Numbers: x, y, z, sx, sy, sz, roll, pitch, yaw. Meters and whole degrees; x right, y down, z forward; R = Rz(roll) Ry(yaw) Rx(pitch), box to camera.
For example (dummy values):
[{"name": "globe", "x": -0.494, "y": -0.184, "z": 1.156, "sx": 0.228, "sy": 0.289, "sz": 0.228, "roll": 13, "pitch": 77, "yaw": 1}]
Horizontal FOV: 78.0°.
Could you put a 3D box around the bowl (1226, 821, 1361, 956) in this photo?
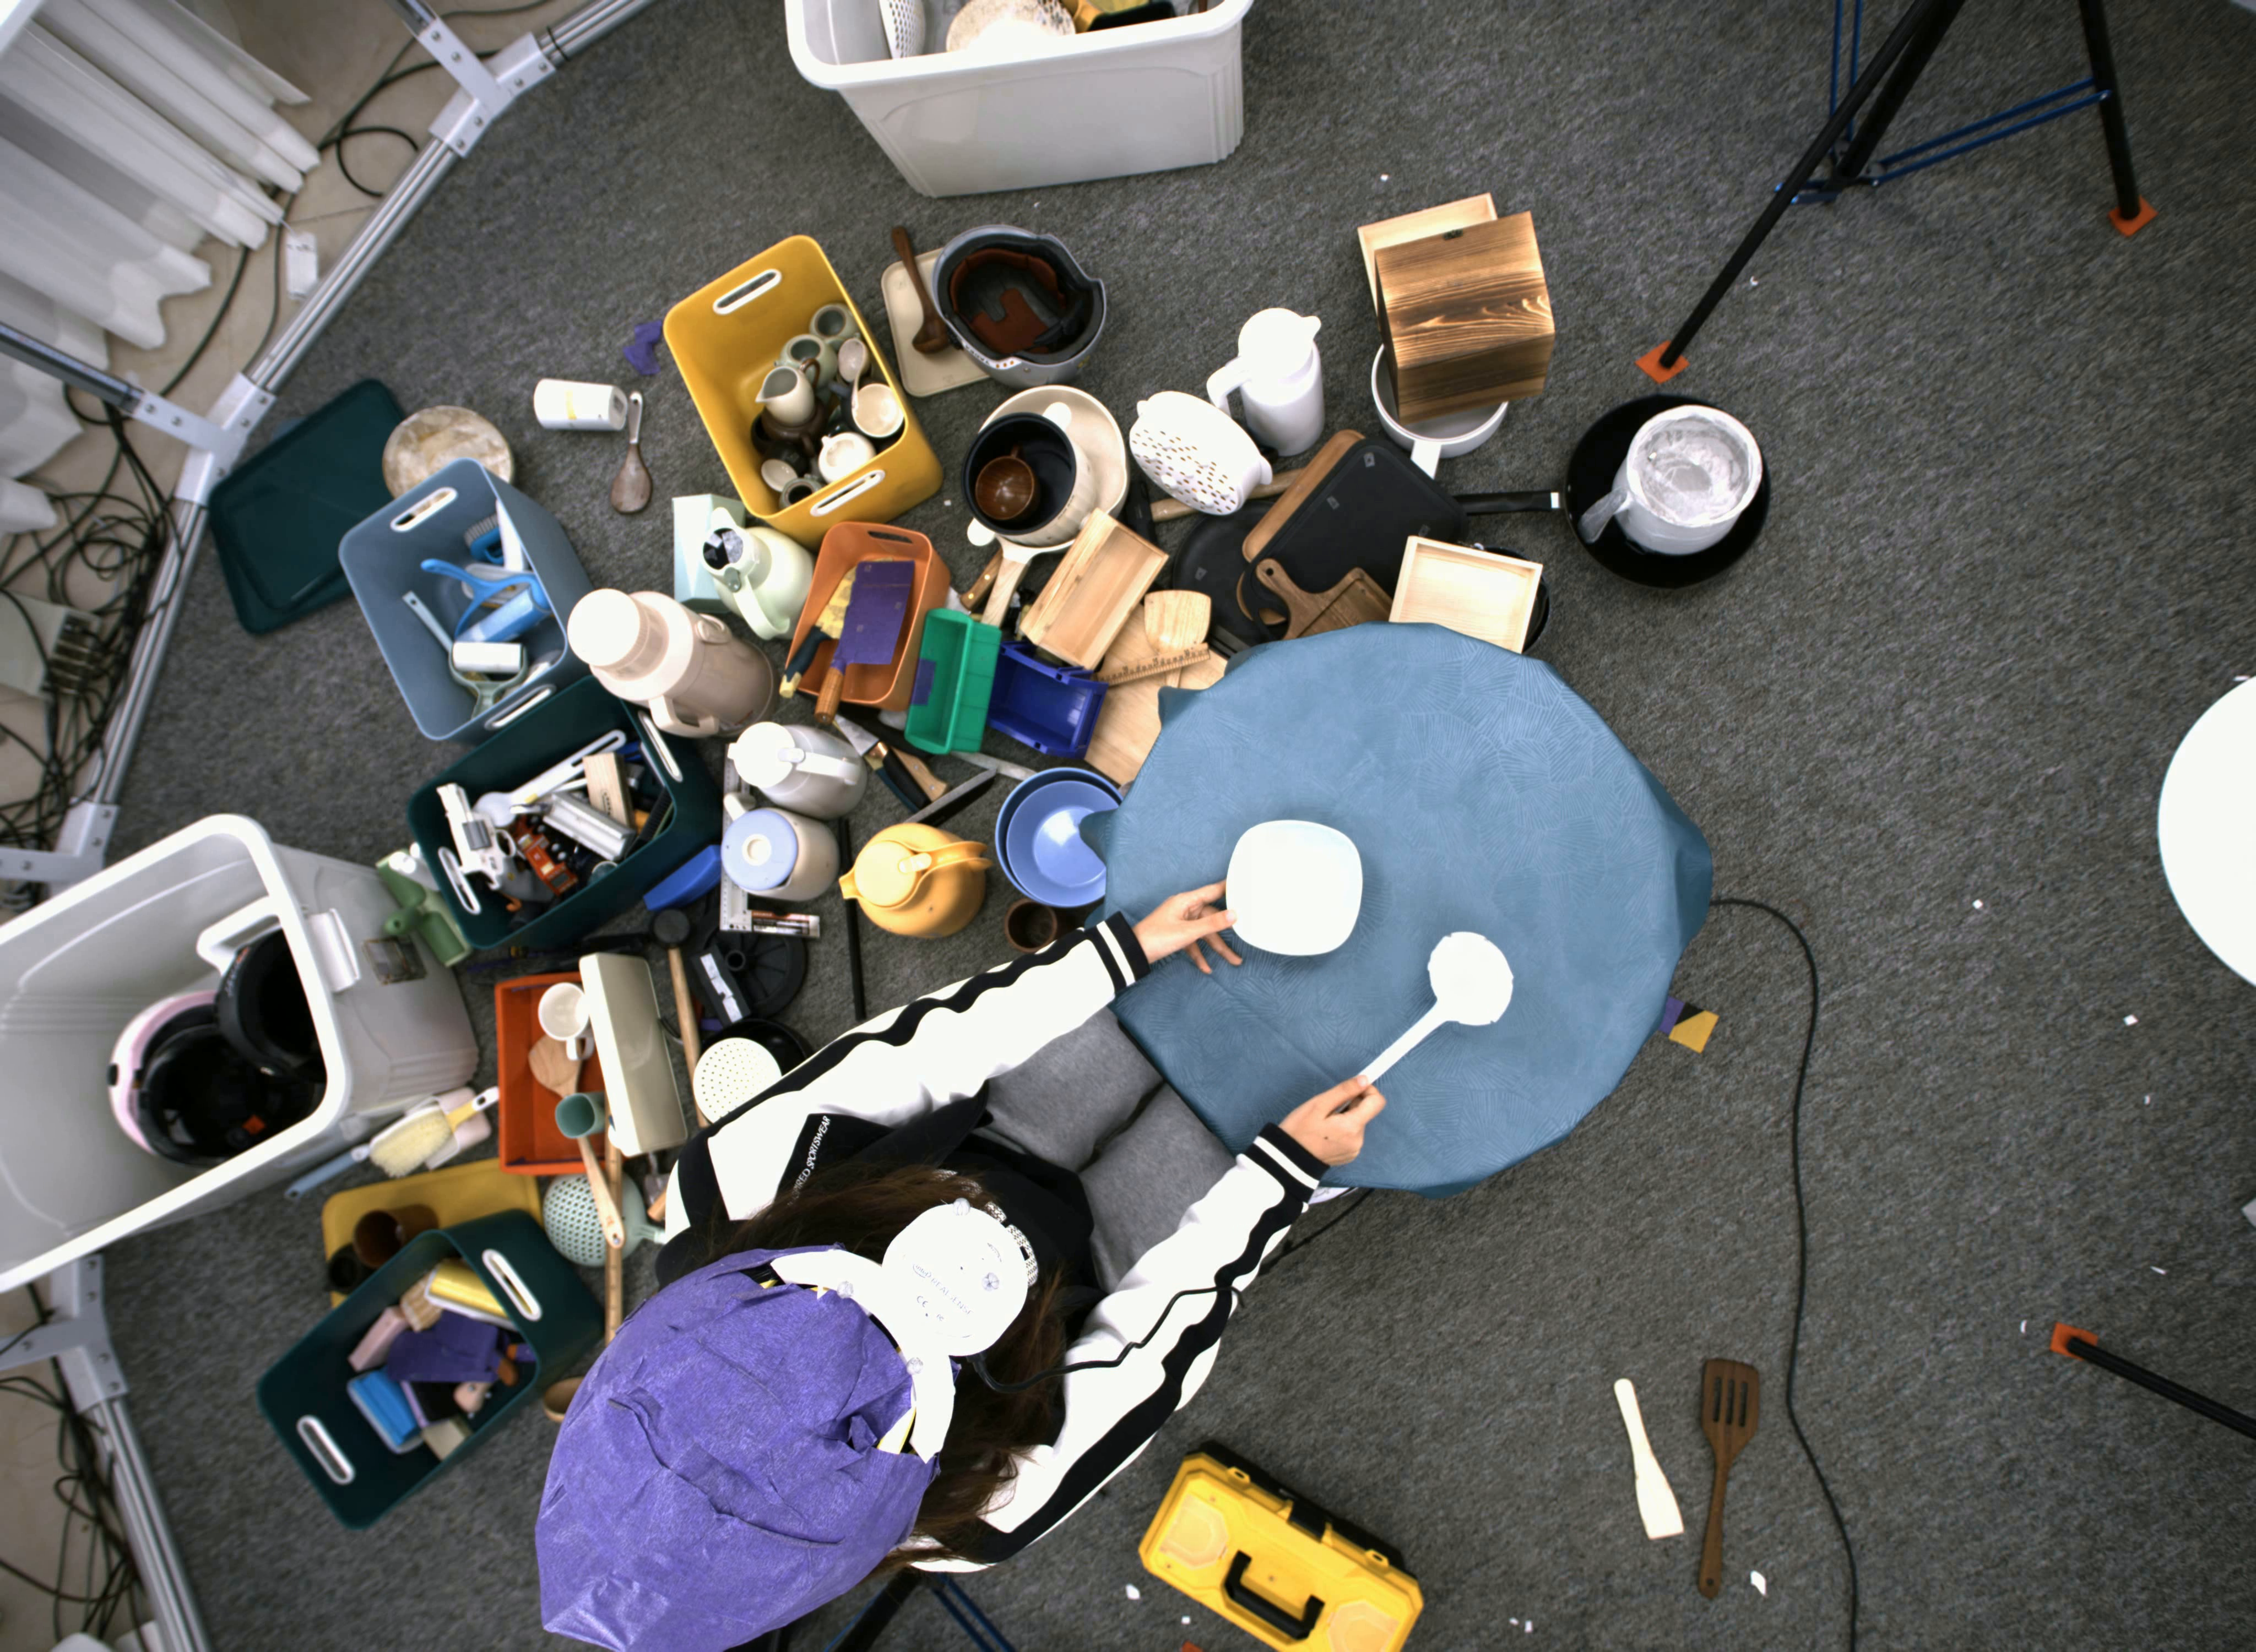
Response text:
[{"name": "bowl", "x": 0.175, "y": 0.066, "z": 1.452, "sx": 0.152, "sy": 0.058, "sz": 0.151, "roll": -1, "pitch": 86, "yaw": 11}]

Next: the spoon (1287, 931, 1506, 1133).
[{"name": "spoon", "x": 0.256, "y": 0.209, "z": 1.376, "sx": 0.279, "sy": 0.060, "sz": 0.099, "roll": -40, "pitch": 60, "yaw": 10}]
